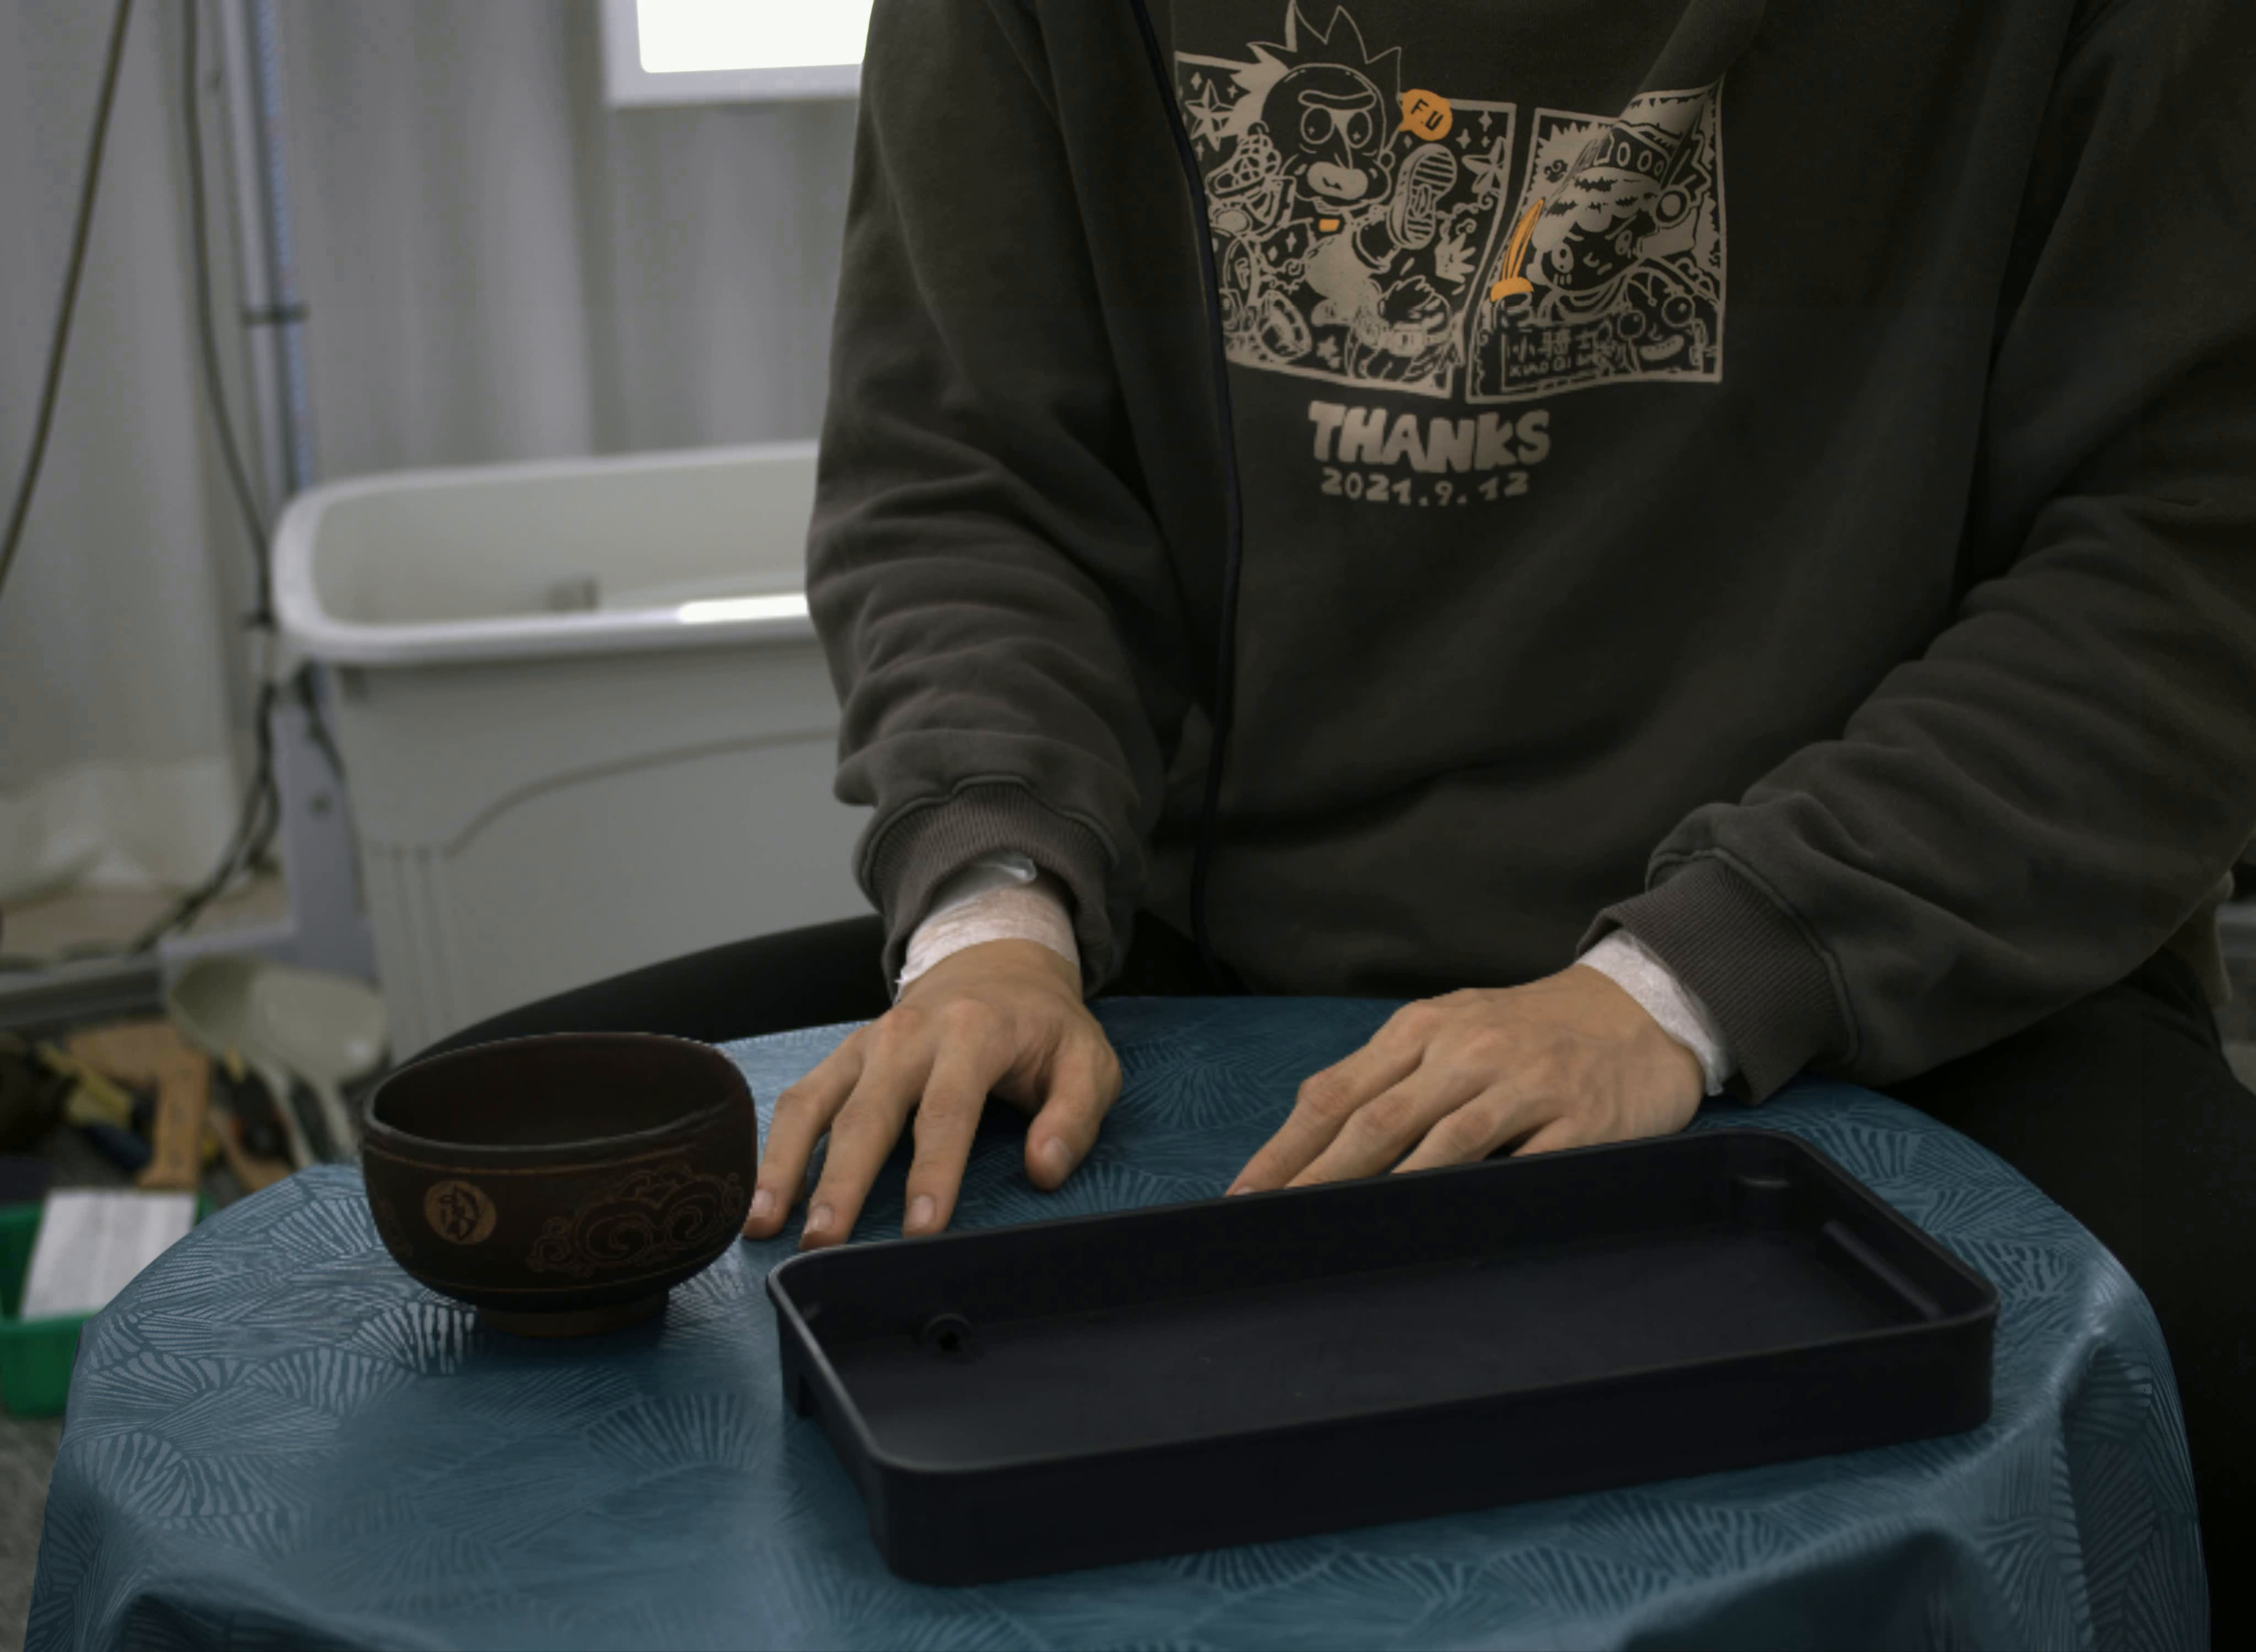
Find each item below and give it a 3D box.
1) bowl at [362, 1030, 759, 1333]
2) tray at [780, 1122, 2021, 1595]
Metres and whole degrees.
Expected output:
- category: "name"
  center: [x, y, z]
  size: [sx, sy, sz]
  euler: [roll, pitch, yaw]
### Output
- category: "bowl"
  center: [-0.168, 0.110, 1.636]
  size: [0.117, 0.069, 0.119]
  euler: [-3, 13, 0]
- category: "tray"
  center: [0.074, 0.144, 1.531]
  size: [0.316, 0.037, 0.186]
  euler: [-8, 15, -15]
